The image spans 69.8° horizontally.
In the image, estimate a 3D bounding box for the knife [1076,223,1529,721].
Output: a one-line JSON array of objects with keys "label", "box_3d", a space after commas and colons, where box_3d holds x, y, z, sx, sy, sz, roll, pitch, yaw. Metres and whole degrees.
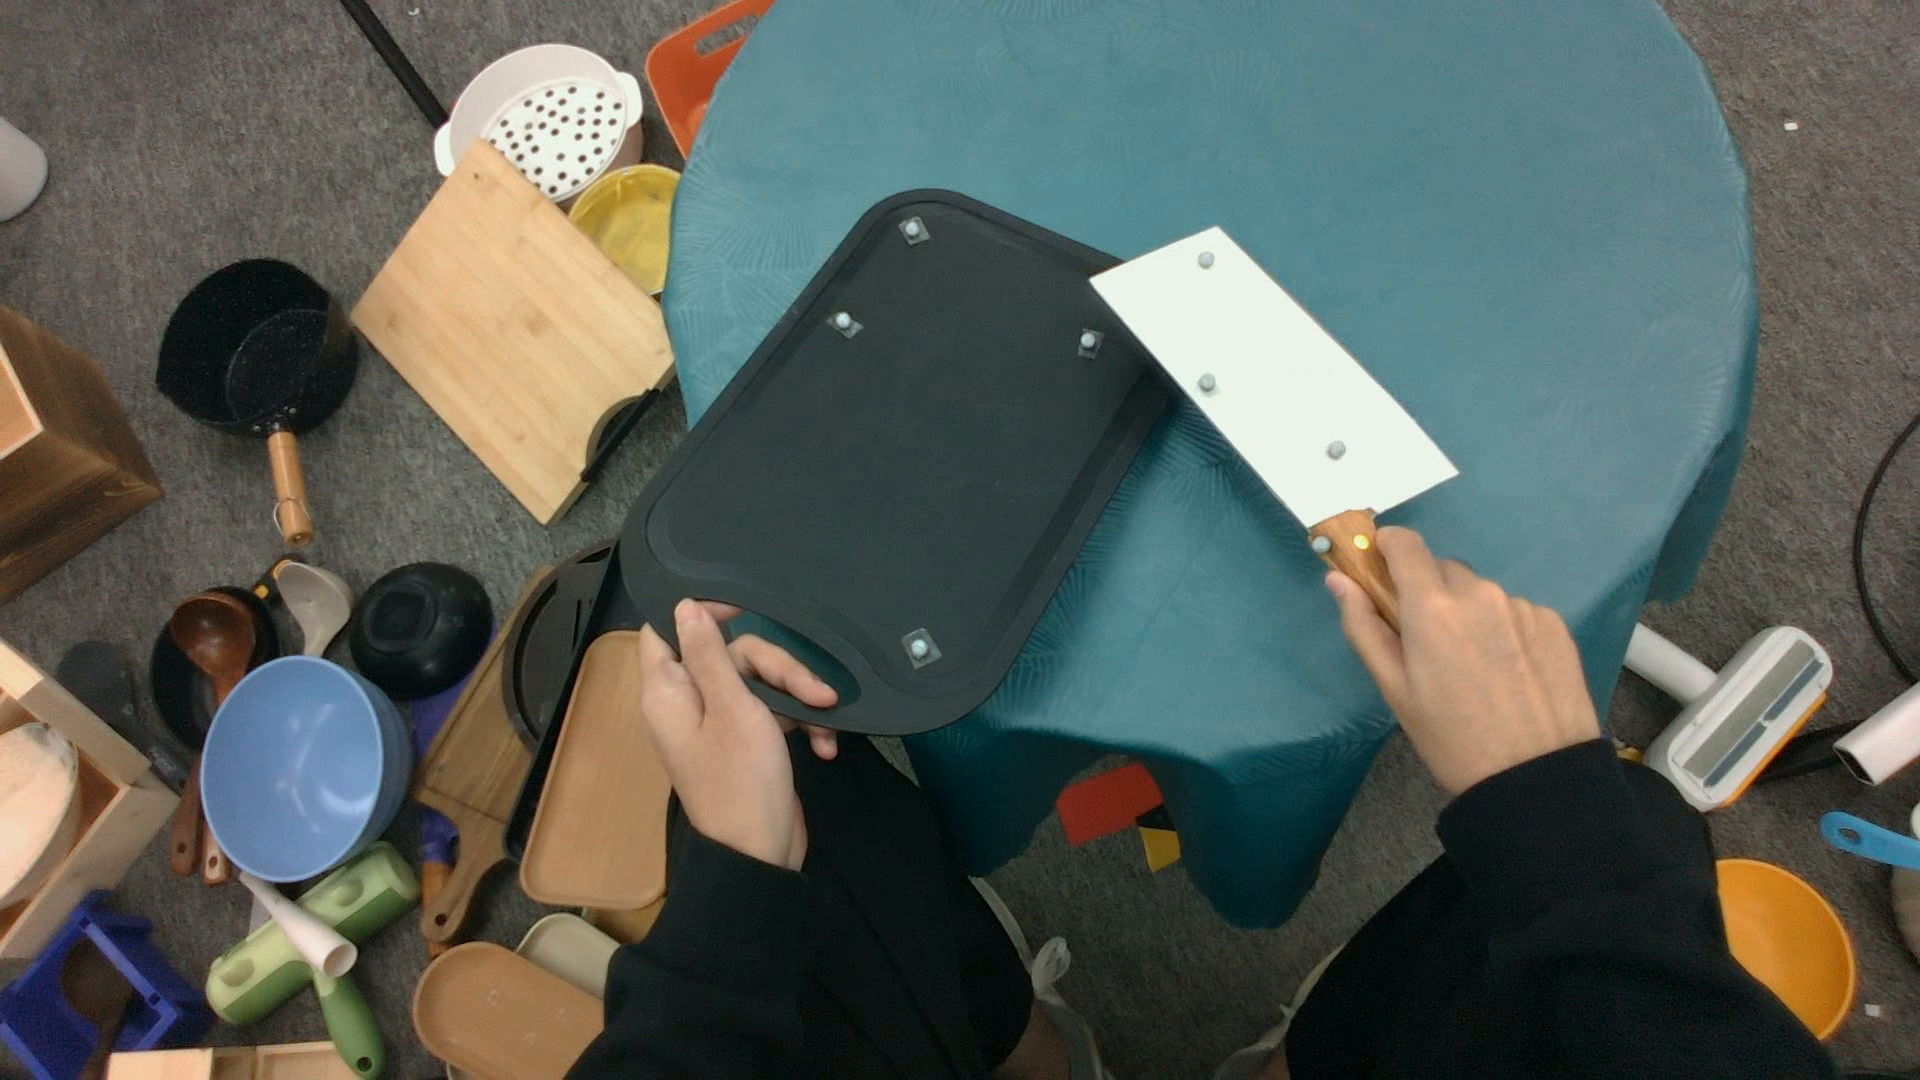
[{"label": "knife", "box_3d": [0.176, -0.050, 0.670, 0.093, 0.021, 0.306, -26, 63, -22]}]

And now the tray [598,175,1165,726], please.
[{"label": "tray", "box_3d": [-0.033, -0.058, 0.707, 0.211, 0.010, 0.327, 26, 63, 14]}]
